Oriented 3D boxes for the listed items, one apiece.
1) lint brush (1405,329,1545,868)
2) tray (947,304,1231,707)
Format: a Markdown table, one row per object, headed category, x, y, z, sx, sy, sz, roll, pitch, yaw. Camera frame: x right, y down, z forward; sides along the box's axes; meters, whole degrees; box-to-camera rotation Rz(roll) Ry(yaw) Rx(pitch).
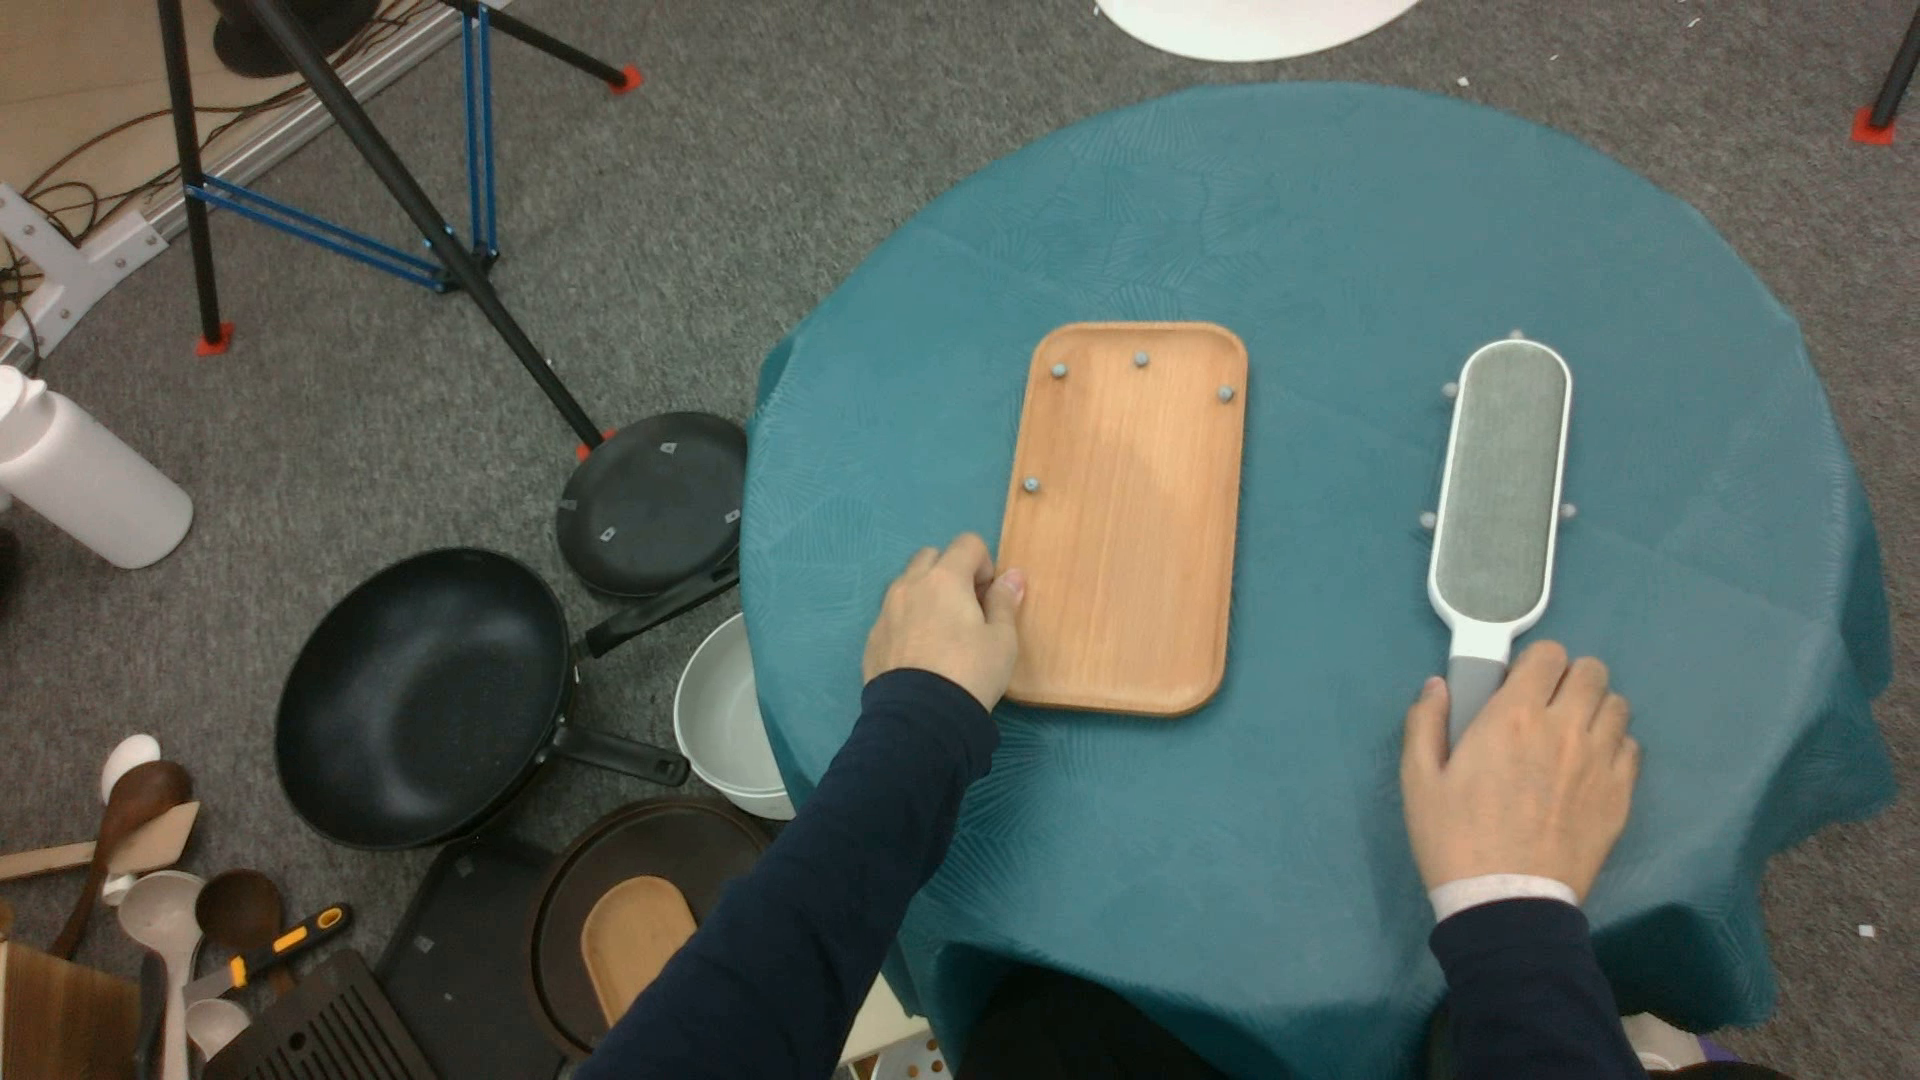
| category | x | y | z | sx | sy | sz | roll | pitch | yaw |
| --- | --- | --- | --- | --- | --- | --- | --- | --- | --- |
| lint brush | 0.255 | 0.016 | 0.694 | 0.060 | 0.021 | 0.310 | 12 | 62 | 11 |
| tray | 0.076 | -0.027 | 0.761 | 0.130 | 0.023 | 0.252 | 6 | 61 | 13 |
